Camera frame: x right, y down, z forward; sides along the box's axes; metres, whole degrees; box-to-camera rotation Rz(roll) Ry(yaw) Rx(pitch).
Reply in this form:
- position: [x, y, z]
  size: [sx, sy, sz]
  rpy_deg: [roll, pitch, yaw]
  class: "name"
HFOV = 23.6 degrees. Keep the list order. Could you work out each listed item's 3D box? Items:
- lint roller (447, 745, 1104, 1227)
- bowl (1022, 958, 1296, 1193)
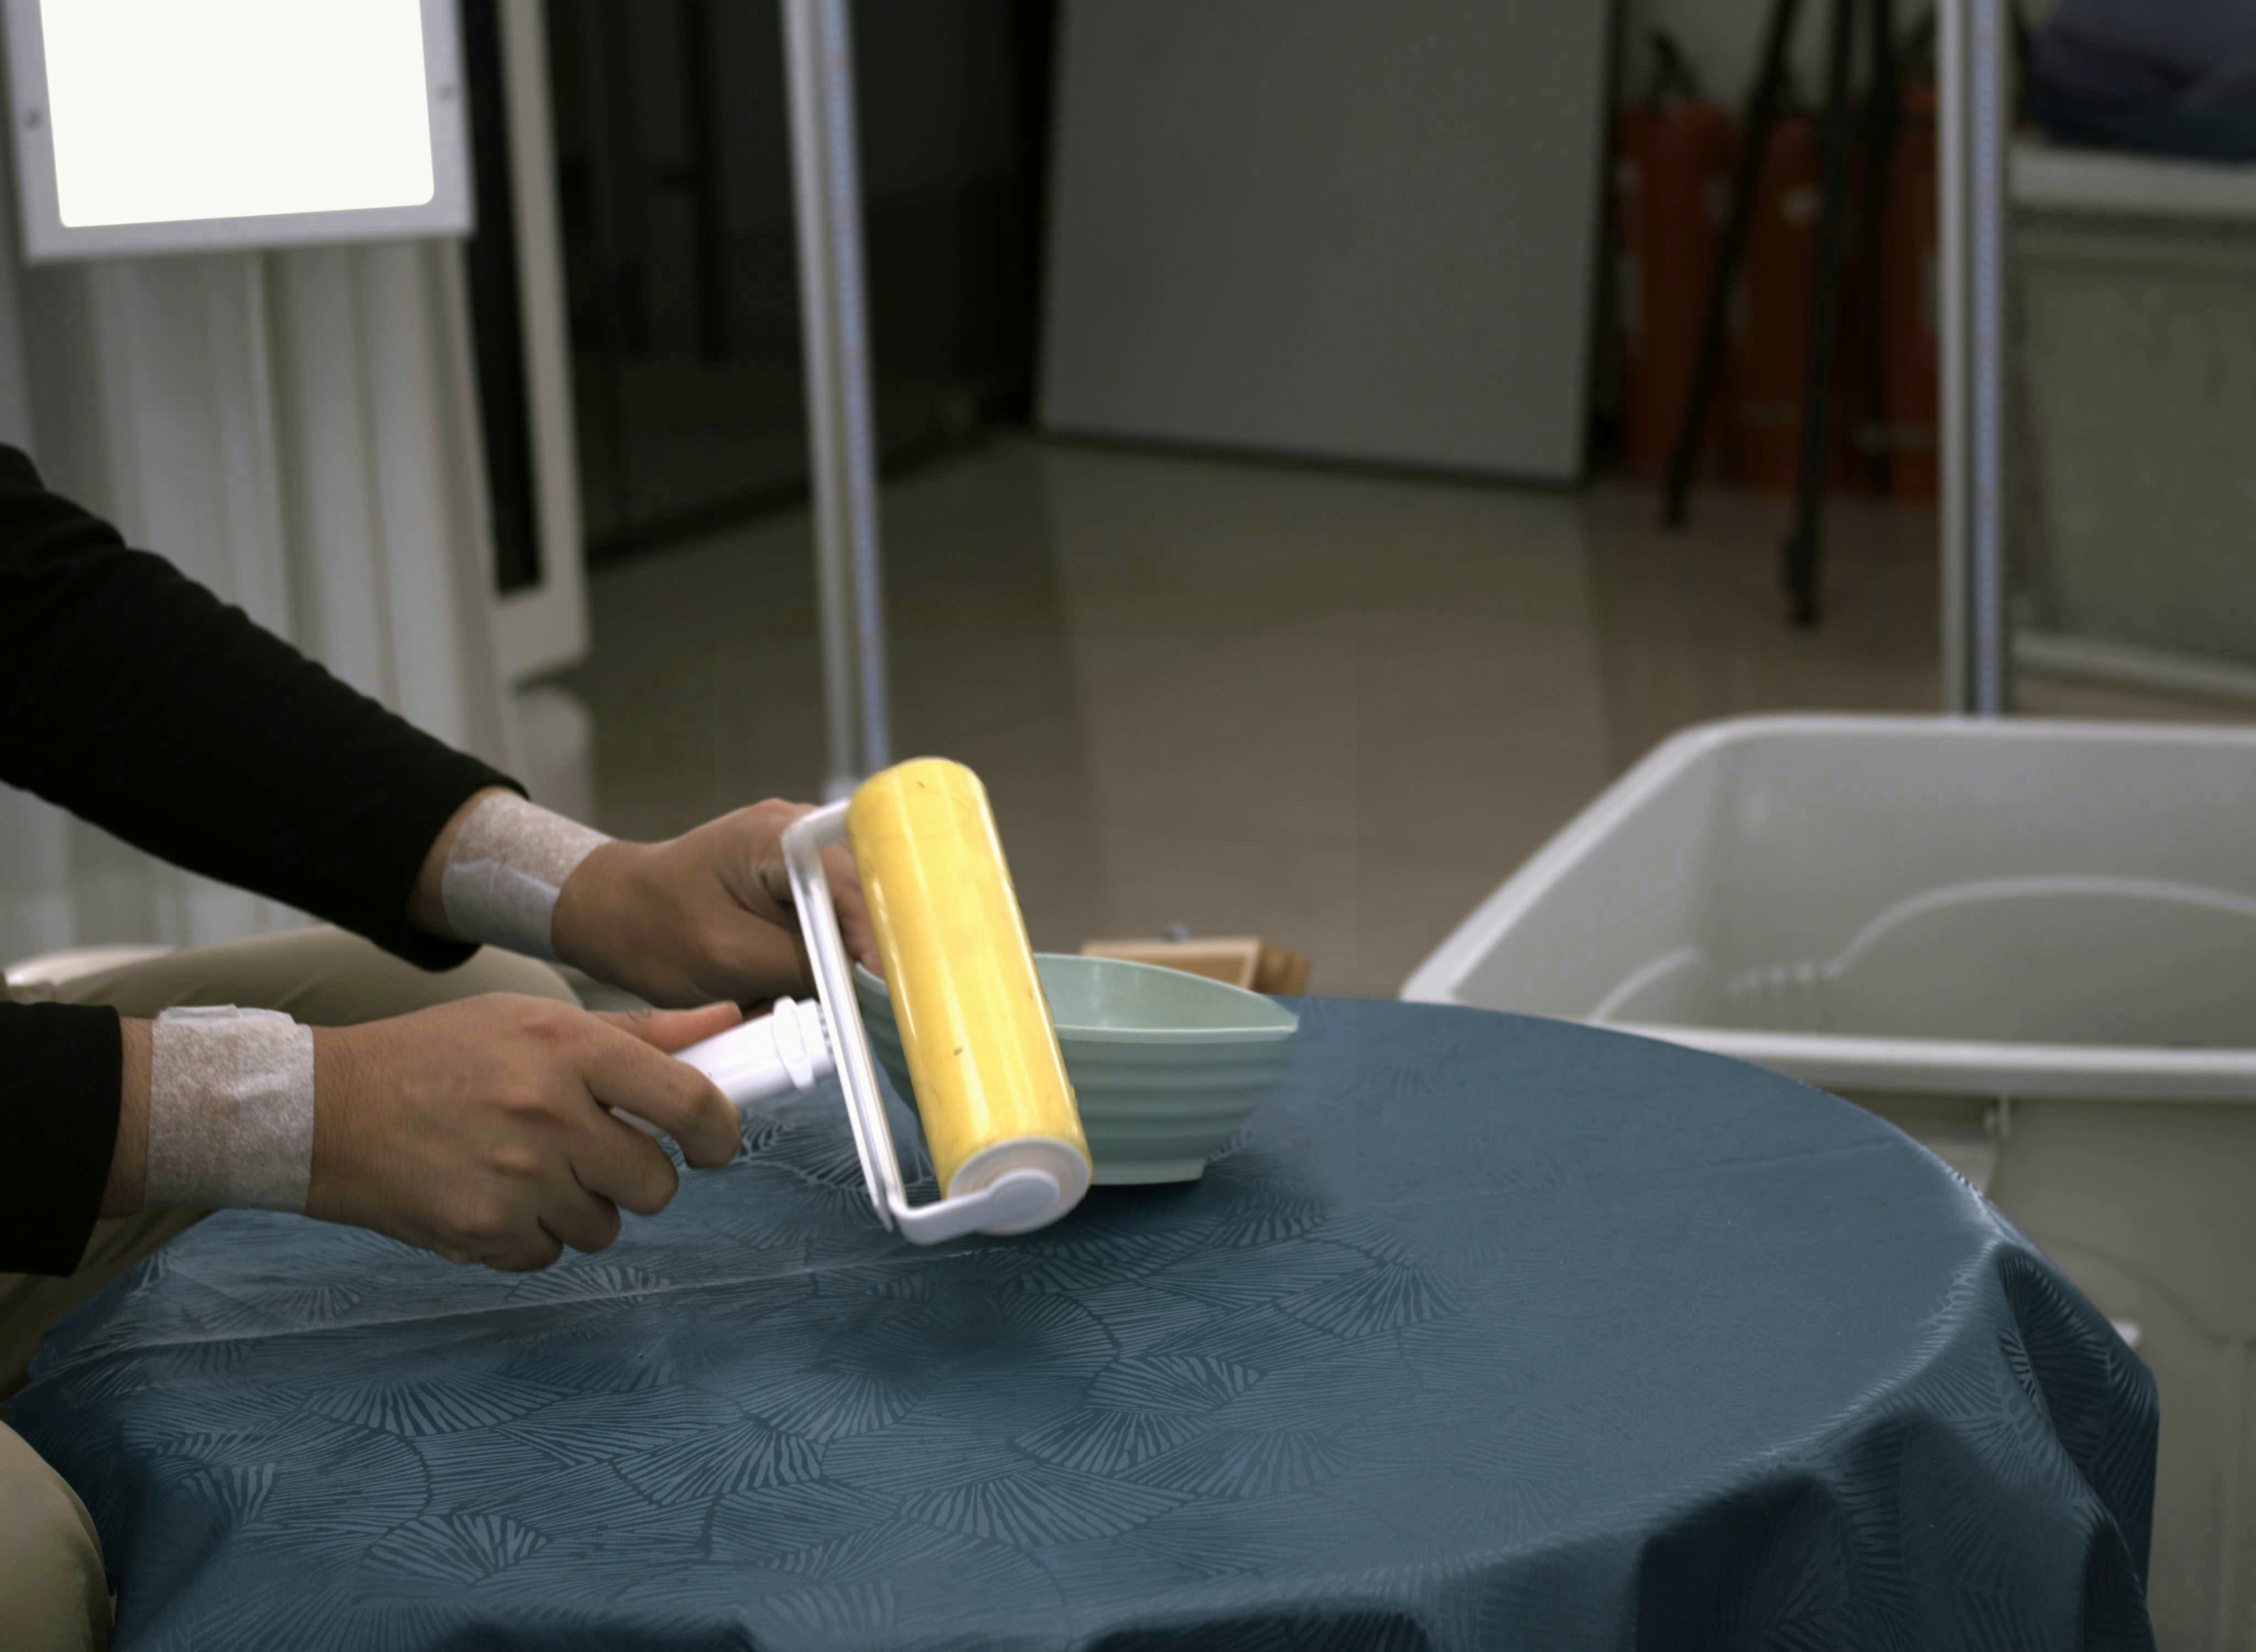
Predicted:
- position: [-0.120, 0.066, 1.670]
  size: [0.189, 0.051, 0.176]
  rpy_deg: [-14, 48, -8]
  class: "lint roller"
- position: [-0.021, 0.083, 1.779]
  size: [0.149, 0.059, 0.151]
  rpy_deg: [7, 6, -2]
  class: "bowl"
